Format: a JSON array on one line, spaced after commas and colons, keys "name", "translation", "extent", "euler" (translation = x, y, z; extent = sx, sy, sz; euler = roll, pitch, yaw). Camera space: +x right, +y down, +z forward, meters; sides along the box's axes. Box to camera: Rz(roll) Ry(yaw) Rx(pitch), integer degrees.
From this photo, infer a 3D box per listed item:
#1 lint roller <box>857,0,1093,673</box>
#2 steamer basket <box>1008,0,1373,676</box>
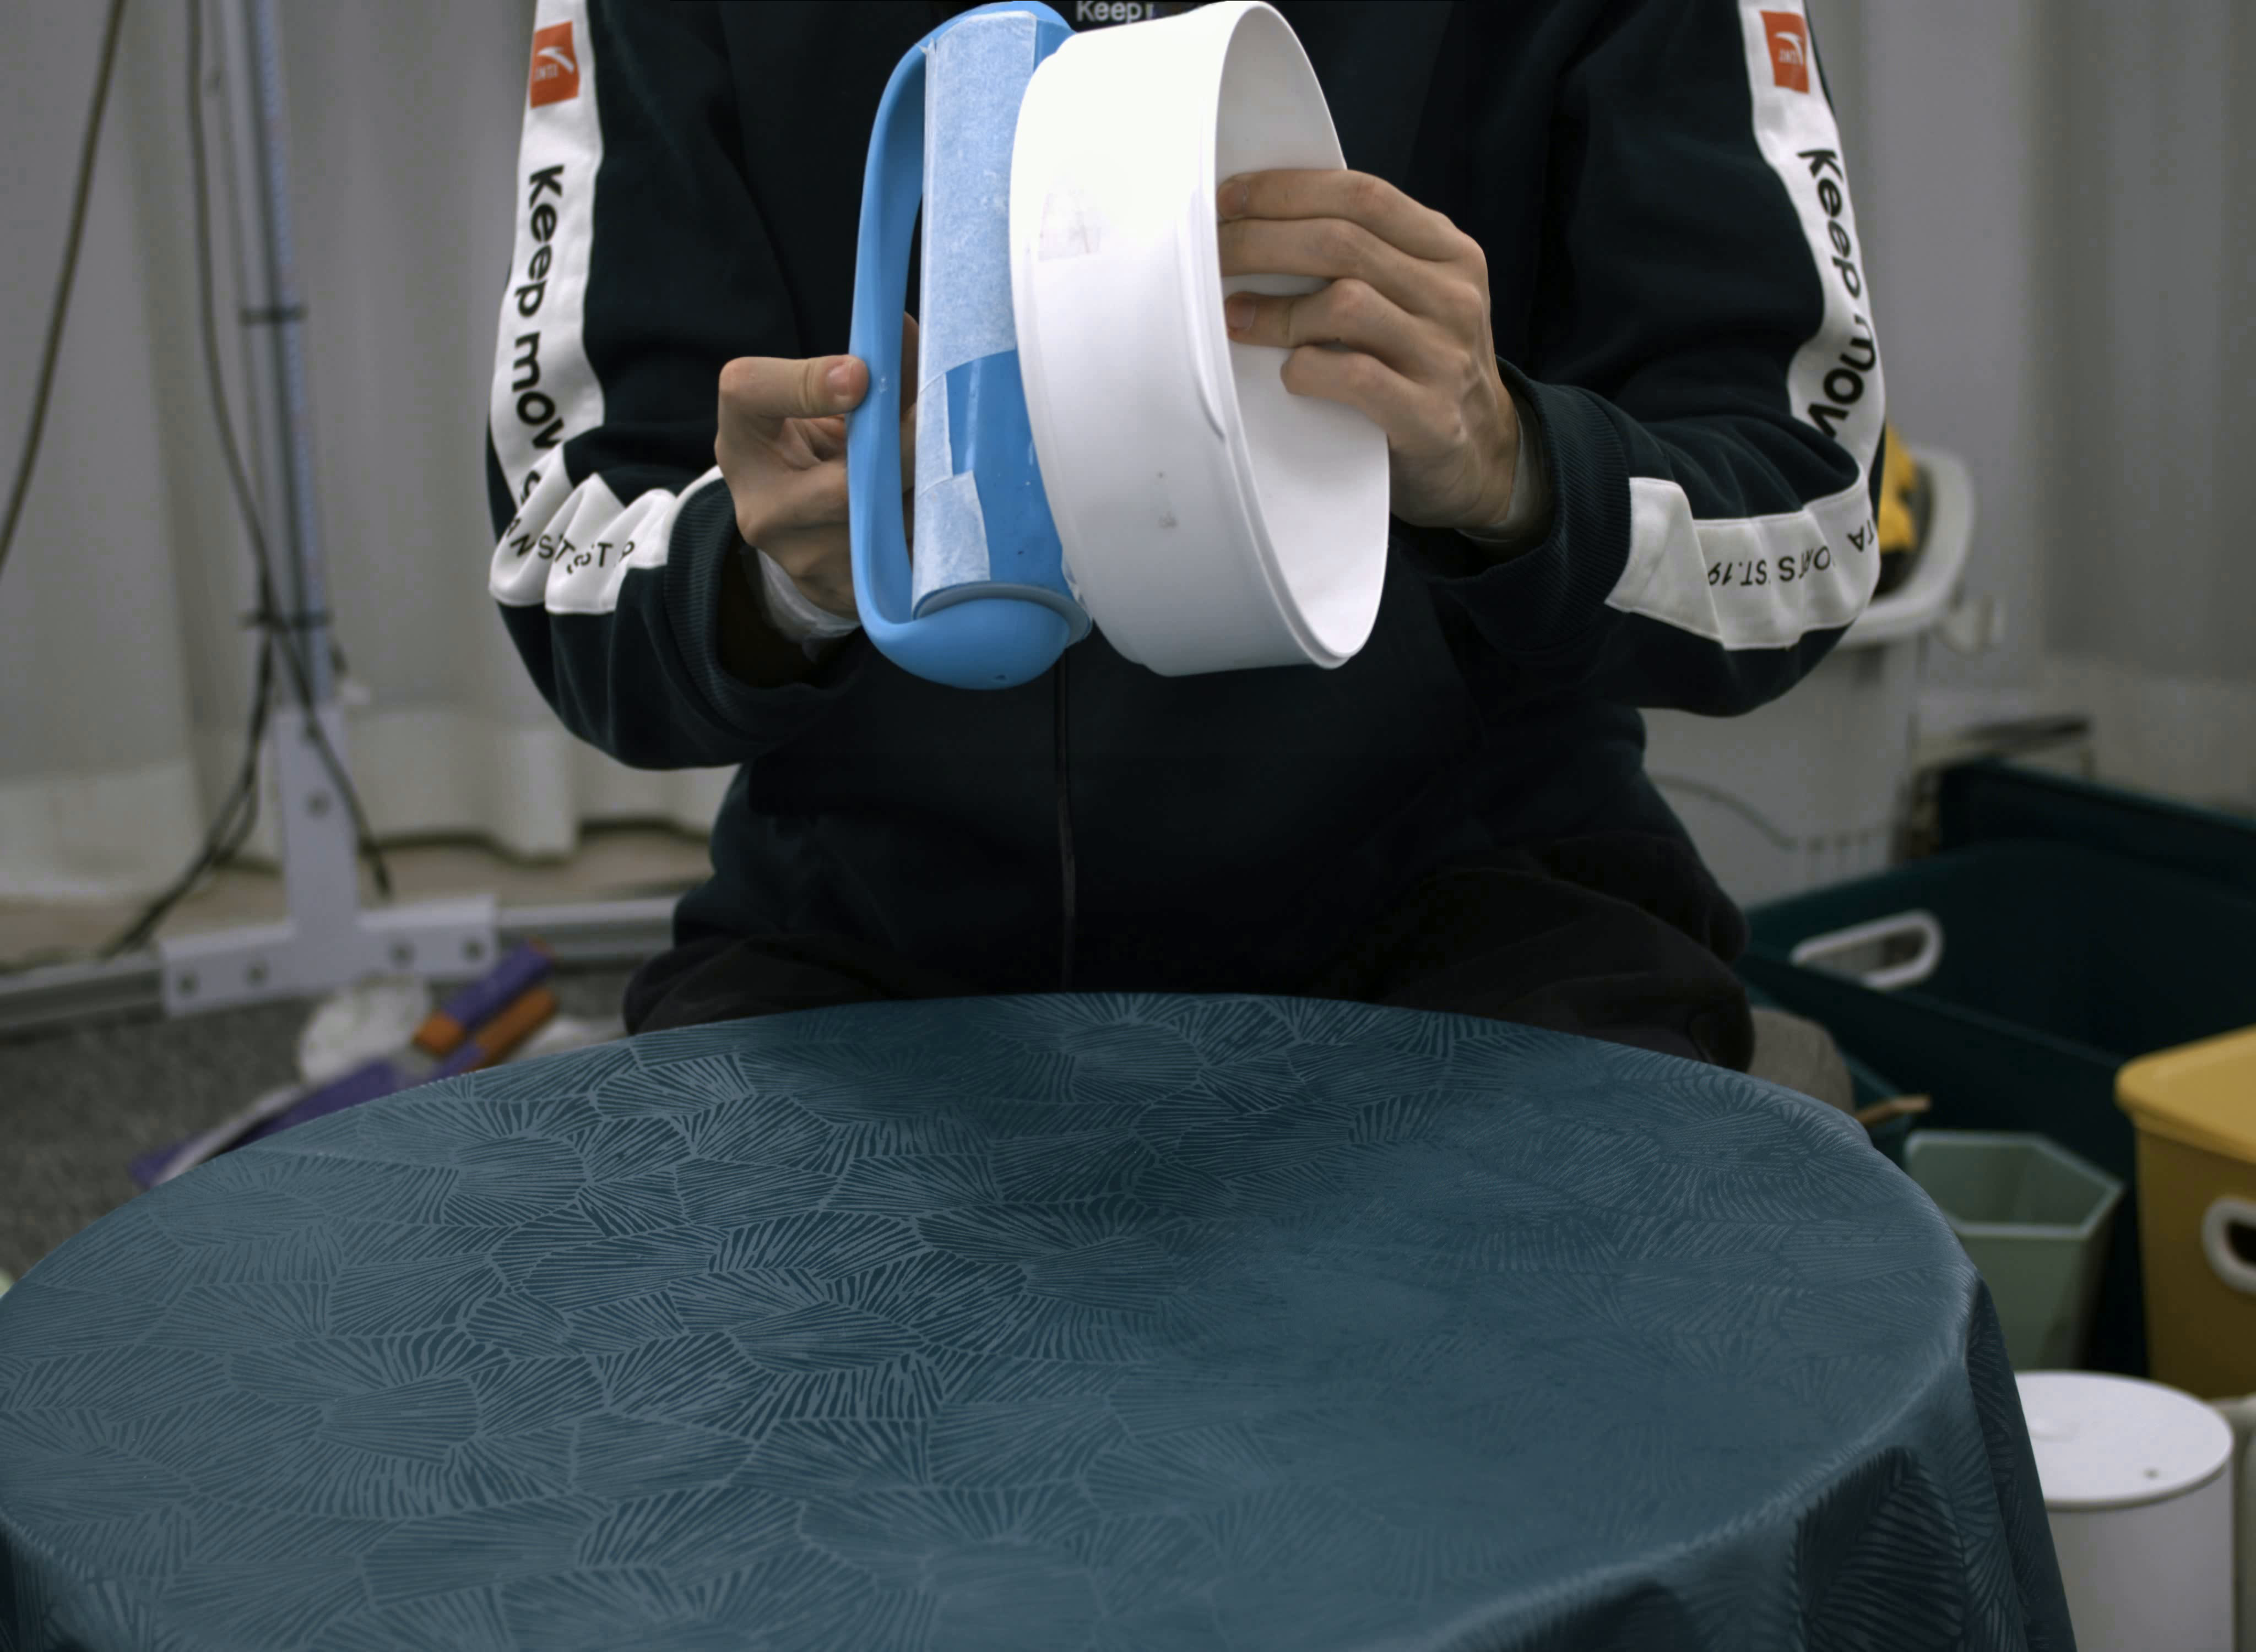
[{"name": "lint roller", "translation": [-0.054, -0.126, 1.699], "extent": [0.067, 0.232, 0.179], "euler": [7, -29, -18]}, {"name": "steamer basket", "translation": [0.019, -0.143, 1.626], "extent": [0.069, 0.203, 0.230], "euler": [-6, -2, 14]}]
